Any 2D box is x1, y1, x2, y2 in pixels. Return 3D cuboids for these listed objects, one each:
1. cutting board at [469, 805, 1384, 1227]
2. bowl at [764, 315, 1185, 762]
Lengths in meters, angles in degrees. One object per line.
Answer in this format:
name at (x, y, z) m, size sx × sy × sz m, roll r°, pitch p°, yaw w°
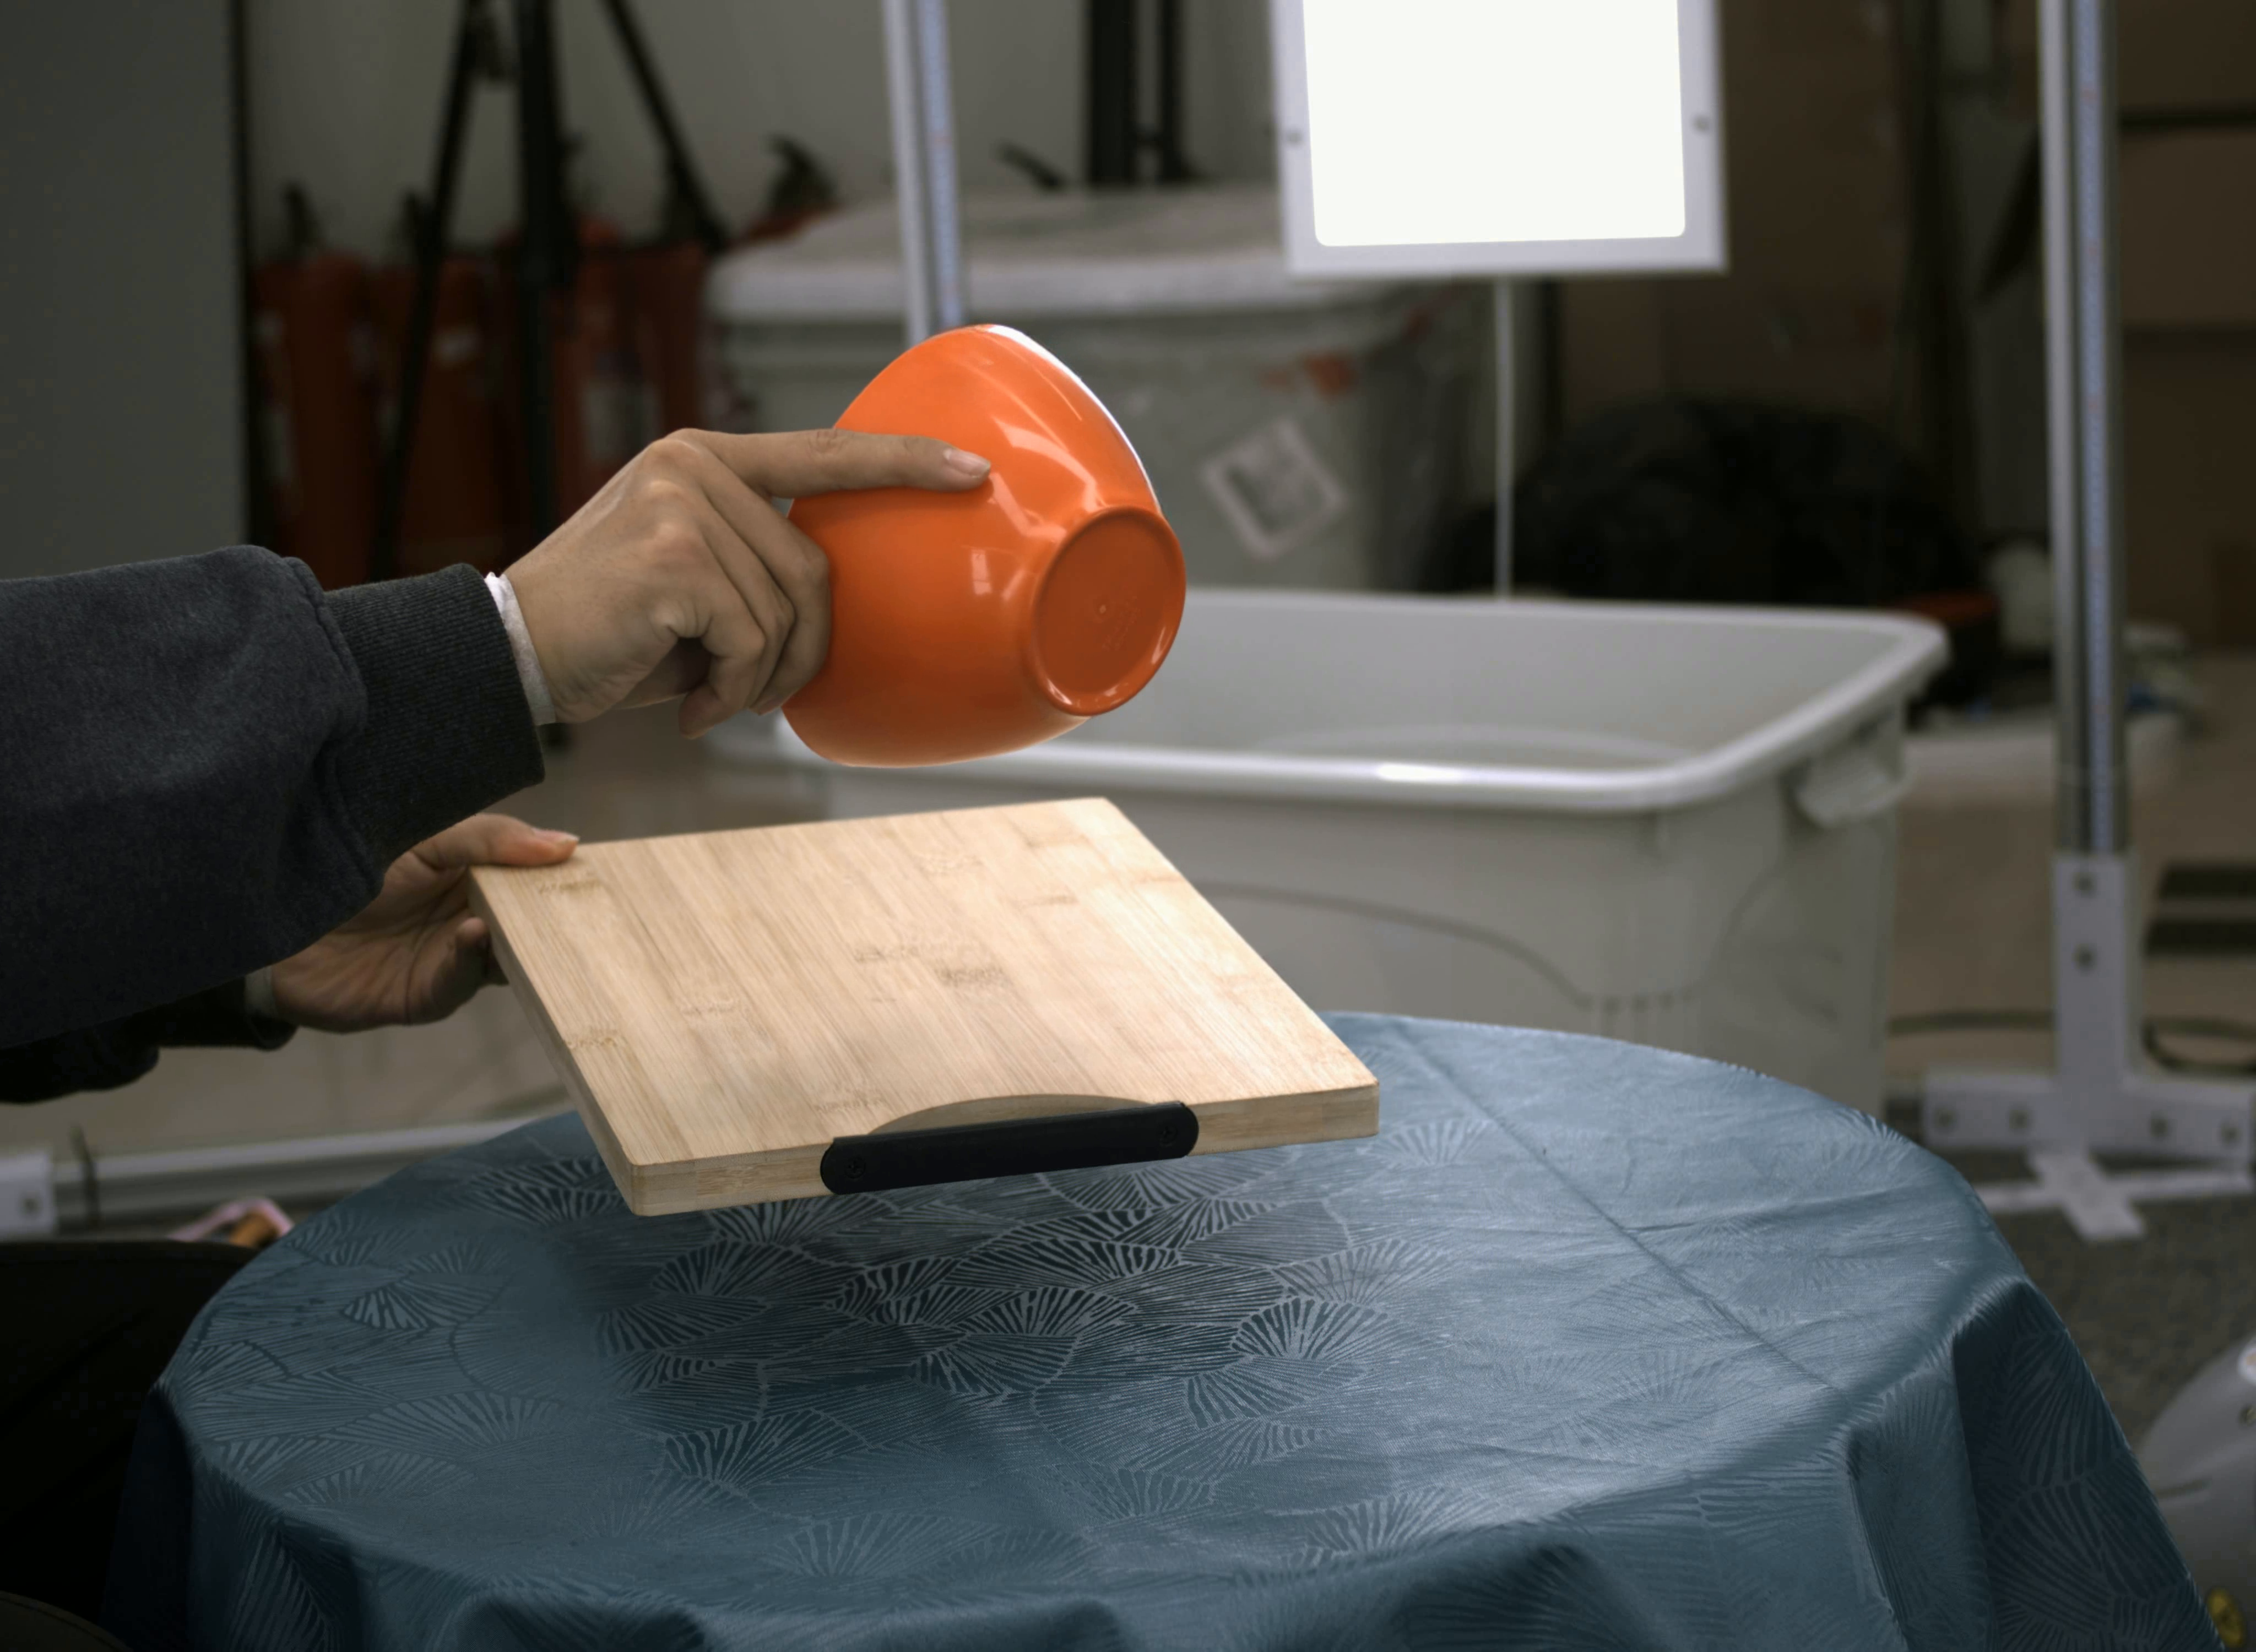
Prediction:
cutting board at (-0.078, 0.057, 1.849) m, size 0.247 × 0.024 × 0.351 m, roll -7°, pitch 17°, yaw -13°
bowl at (-0.034, -0.077, 1.696) m, size 0.144 × 0.149 × 0.106 m, roll -16°, pitch 29°, yaw -39°
